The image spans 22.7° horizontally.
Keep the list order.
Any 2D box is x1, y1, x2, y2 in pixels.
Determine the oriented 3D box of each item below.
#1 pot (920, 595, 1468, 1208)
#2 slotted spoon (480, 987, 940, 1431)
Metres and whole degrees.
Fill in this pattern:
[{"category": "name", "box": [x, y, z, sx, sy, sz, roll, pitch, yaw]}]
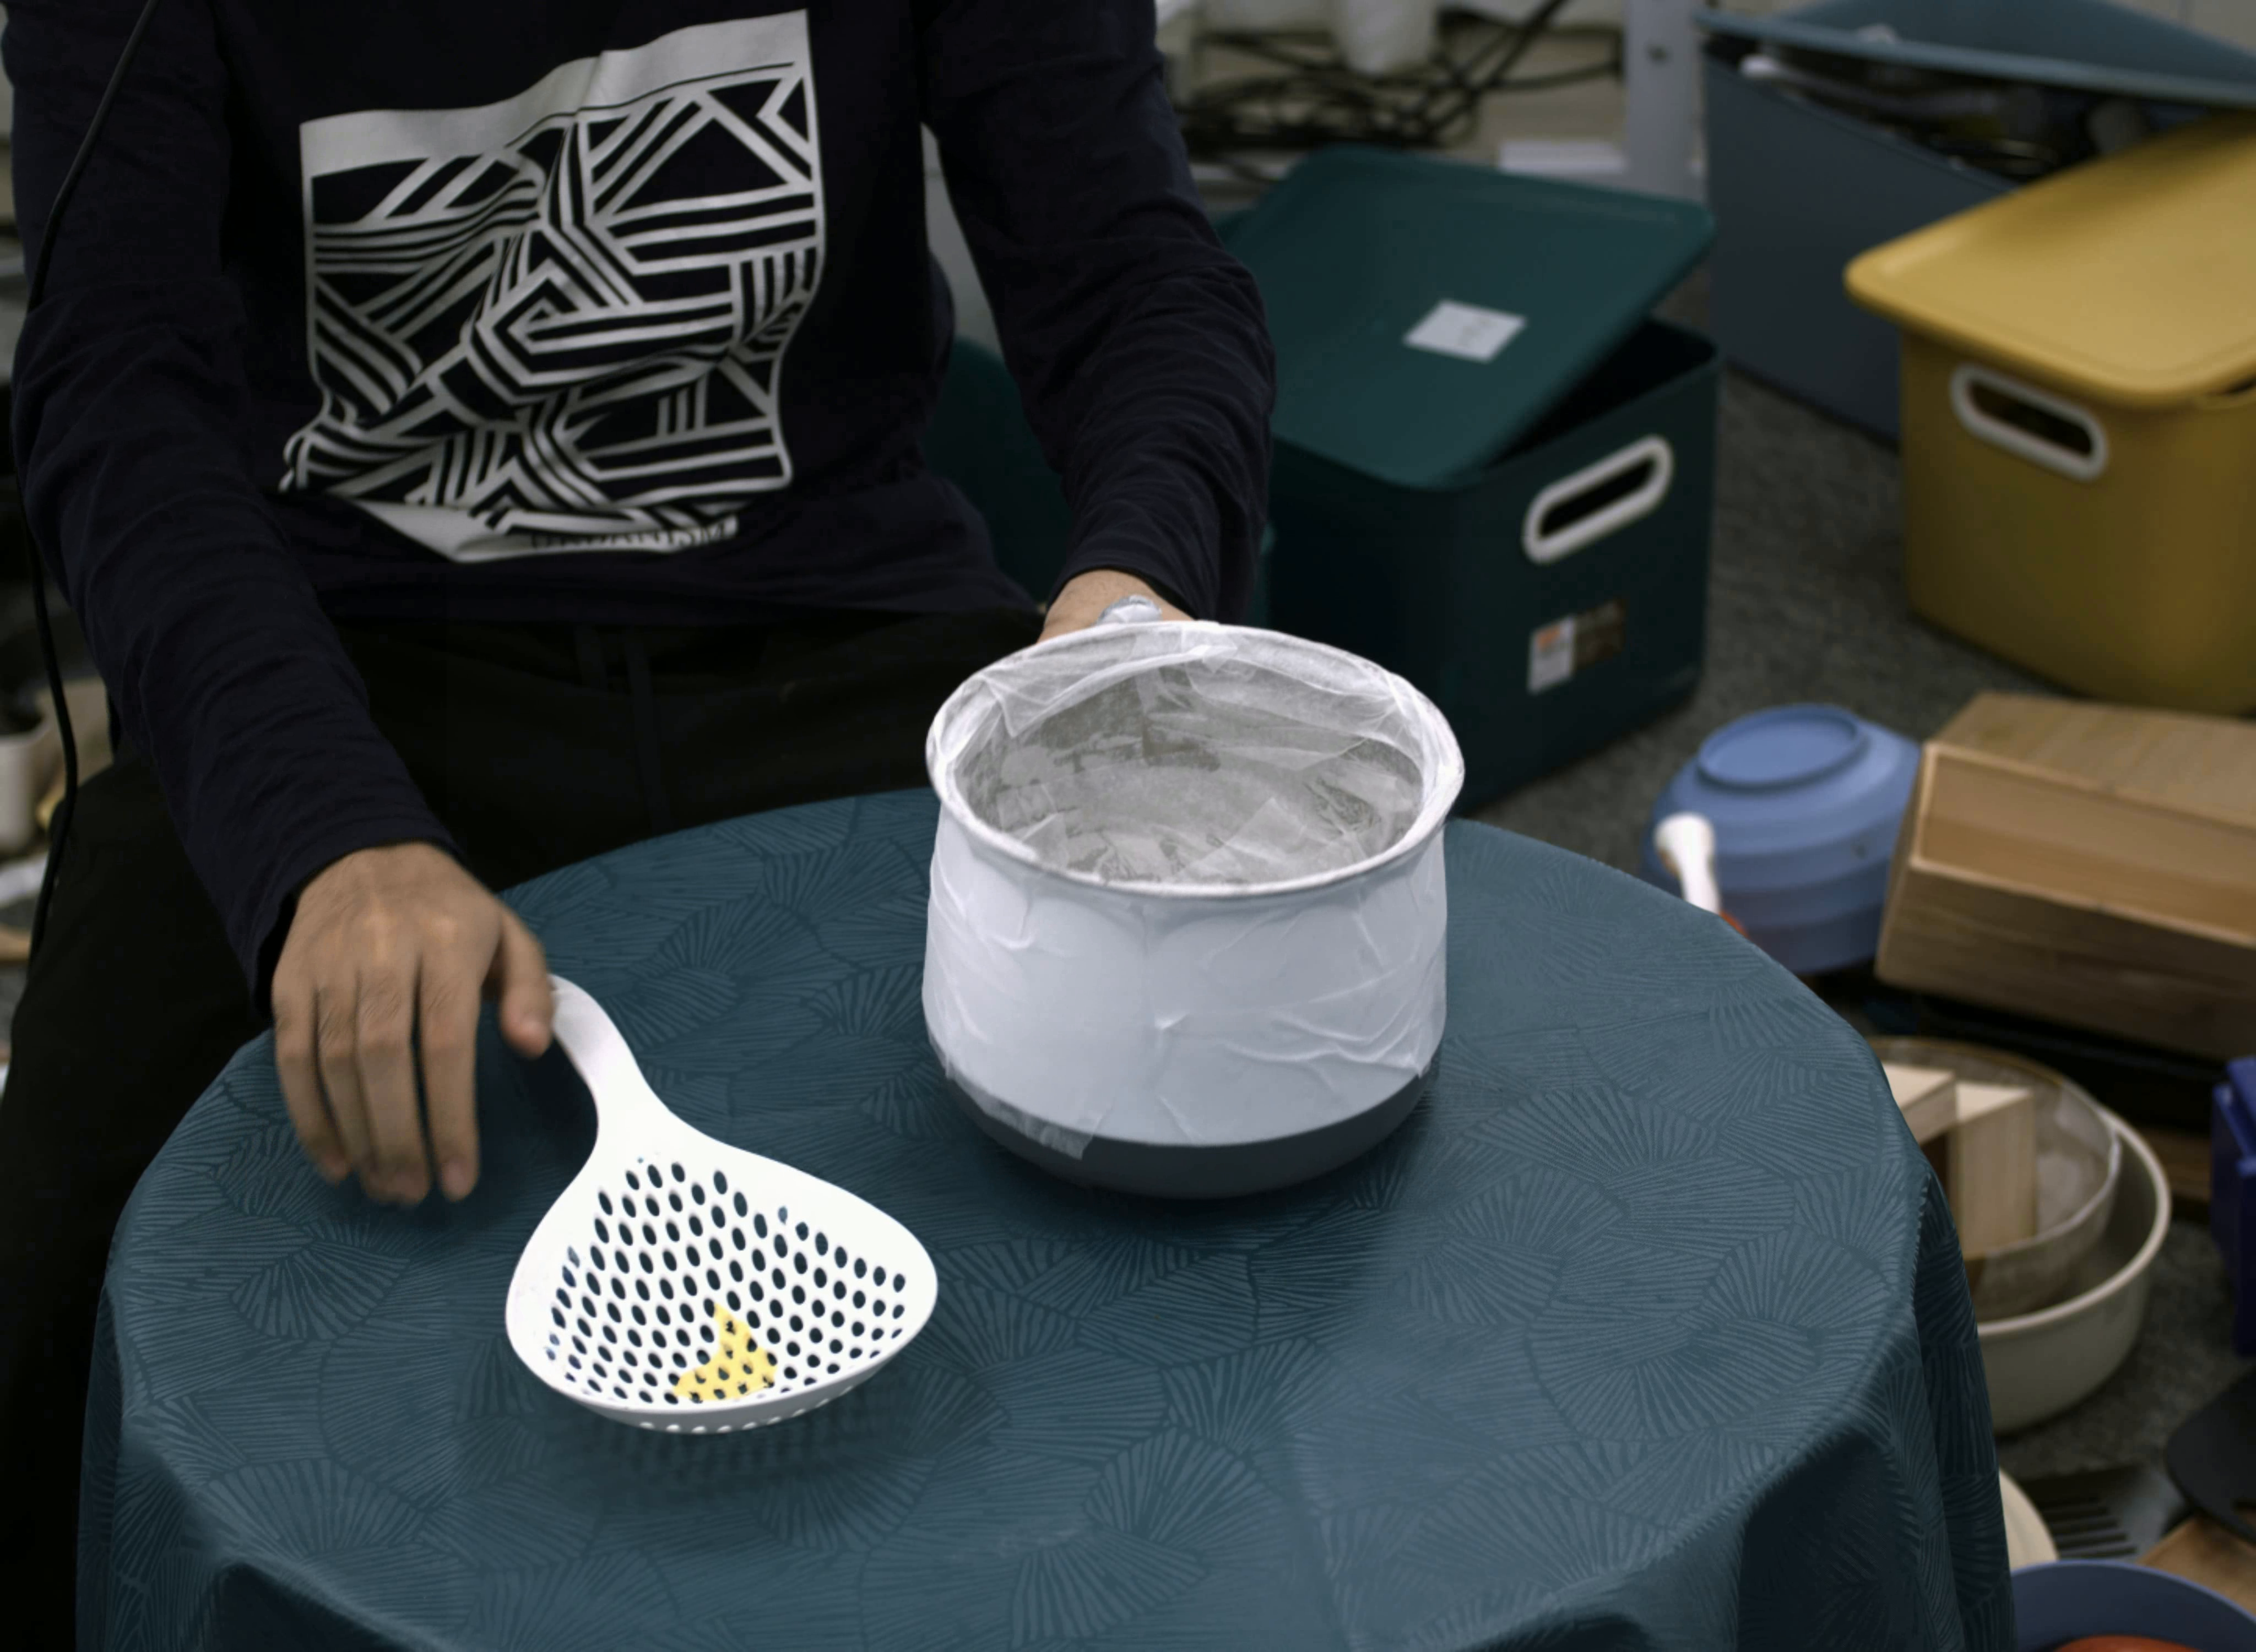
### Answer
[{"category": "pot", "box": [0.014, 0.017, 1.895, 0.178, 0.135, 0.237, -3, 31, -13]}, {"category": "slotted spoon", "box": [-0.162, 0.113, 1.846, 0.137, 0.050, 0.351, -12, 29, -15]}]
